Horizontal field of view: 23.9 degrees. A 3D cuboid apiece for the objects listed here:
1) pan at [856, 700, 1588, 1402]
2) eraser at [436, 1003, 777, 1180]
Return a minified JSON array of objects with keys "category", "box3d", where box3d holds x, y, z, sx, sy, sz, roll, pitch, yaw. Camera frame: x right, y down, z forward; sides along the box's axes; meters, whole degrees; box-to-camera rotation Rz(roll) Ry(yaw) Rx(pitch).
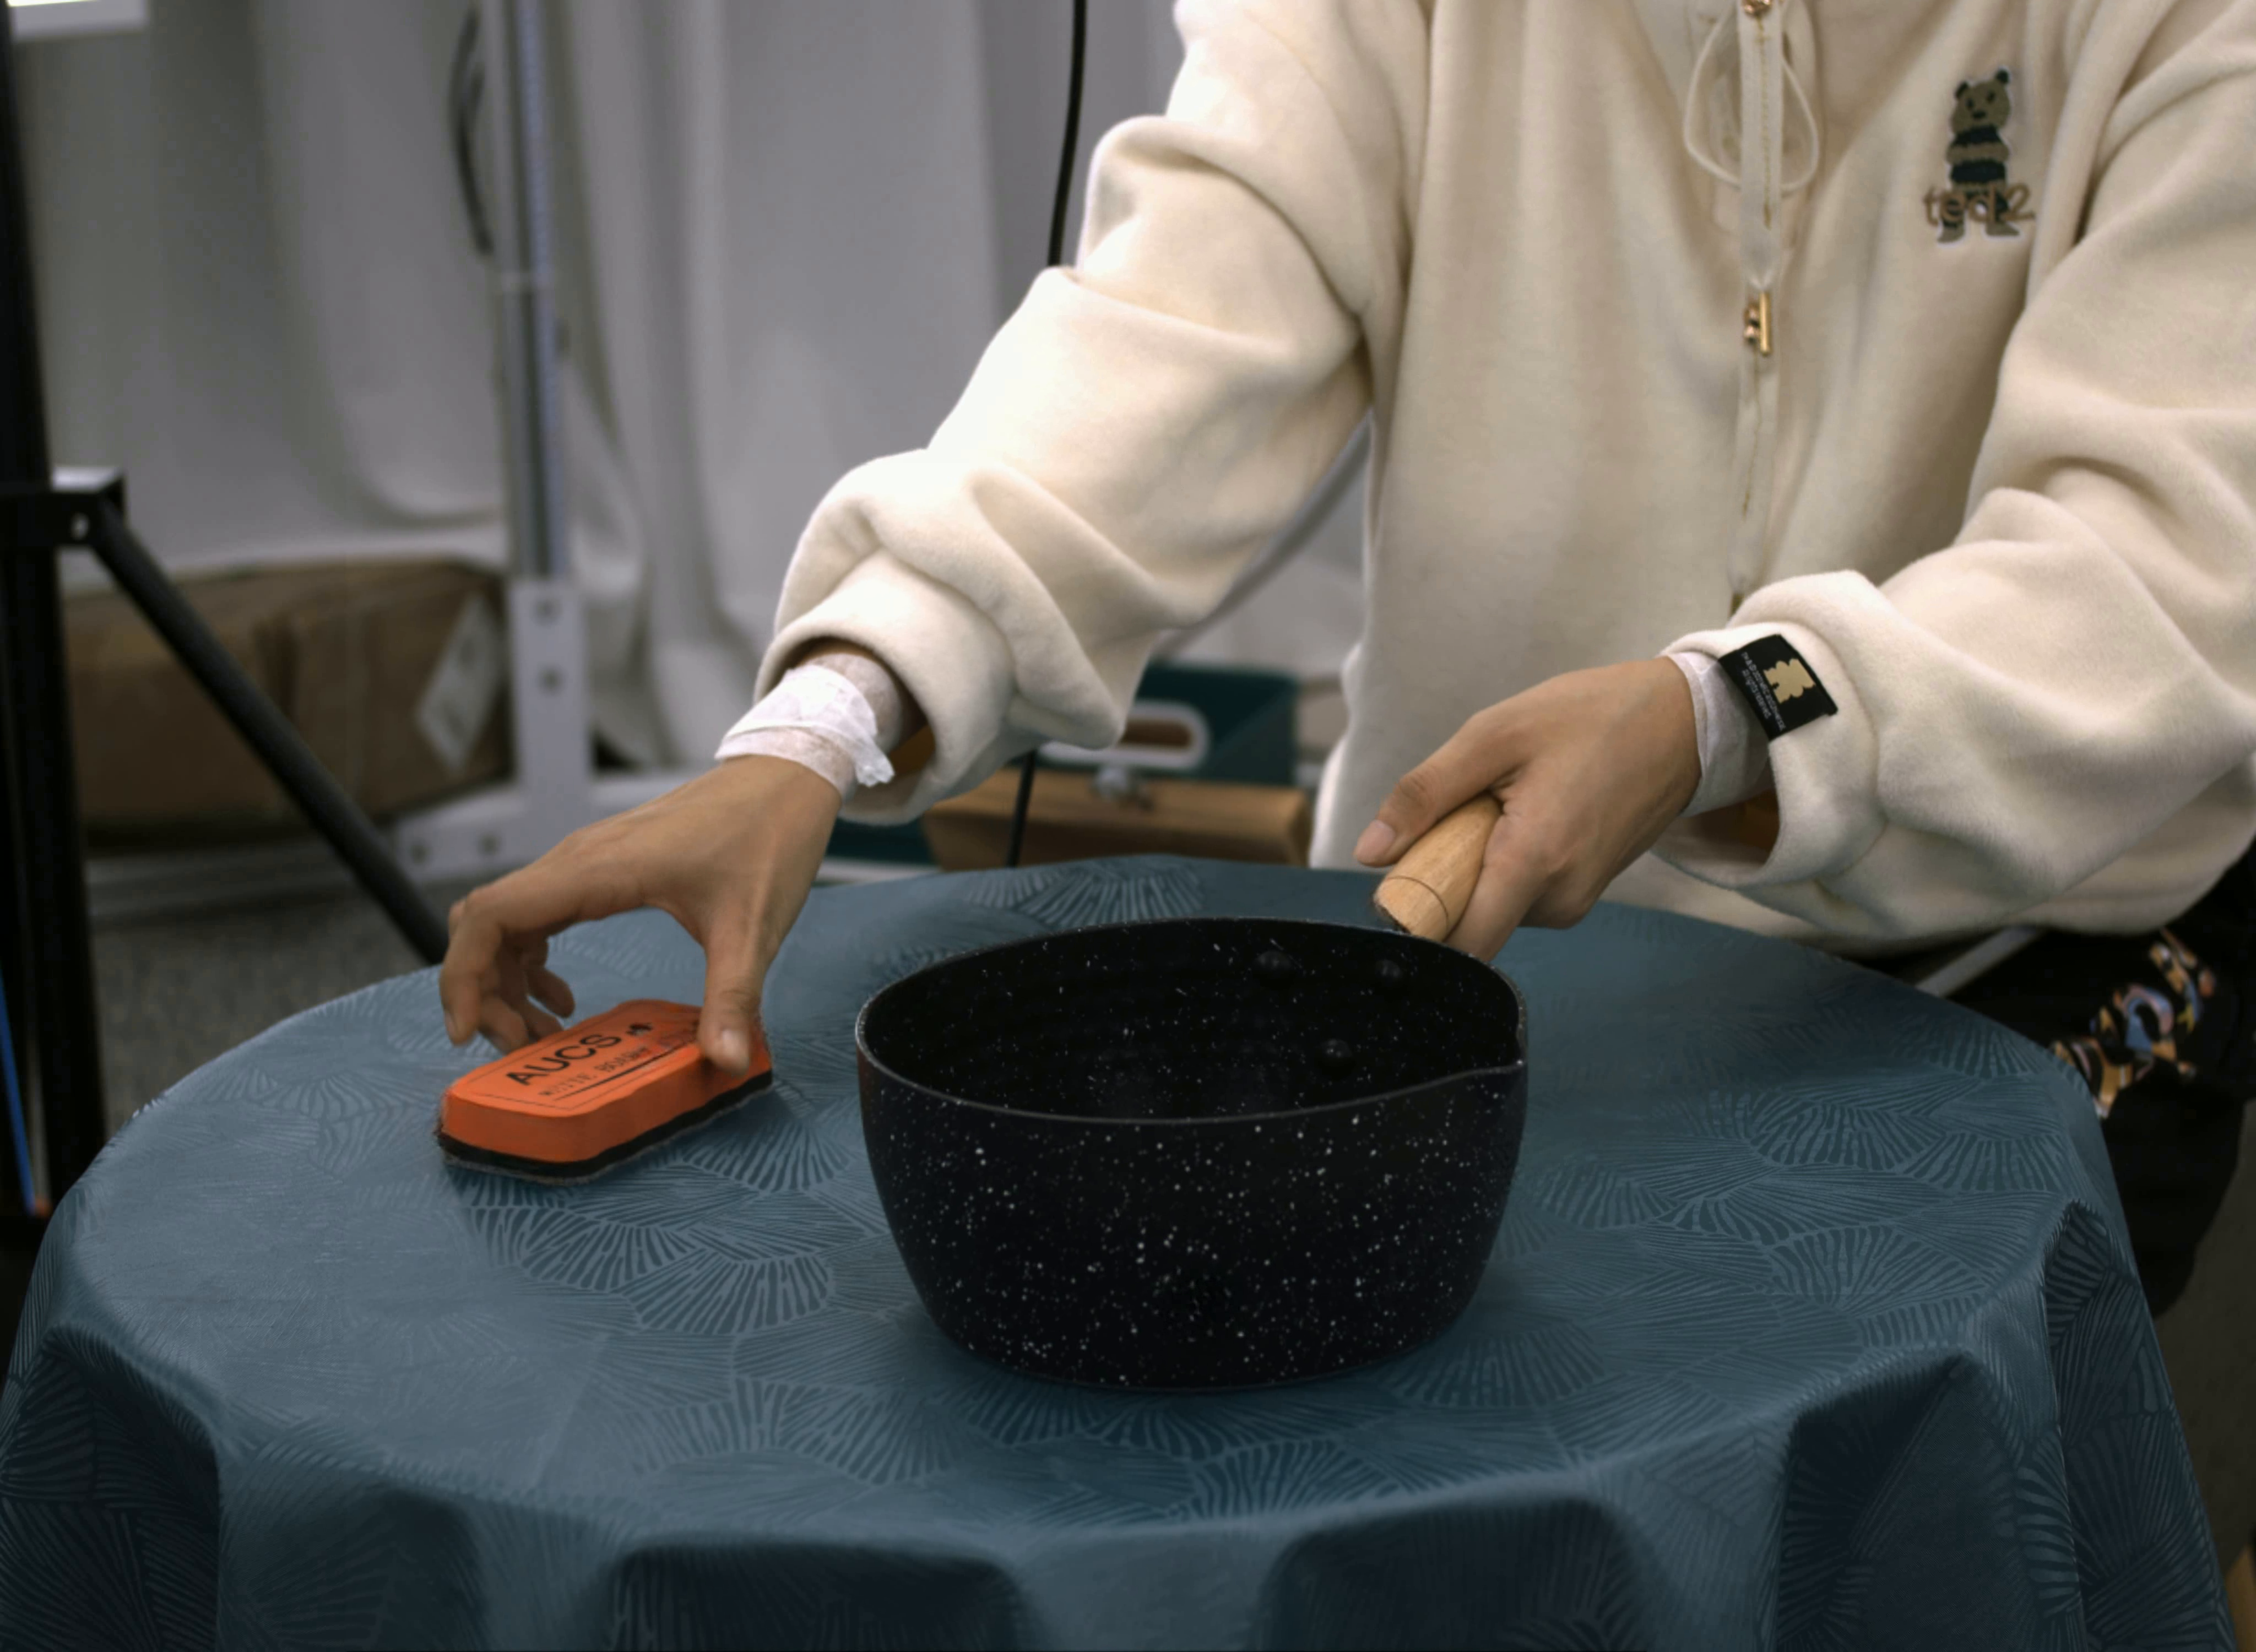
[{"category":"pan","box3d":[0.055,0.059,1.522,0.211,0.108,0.337,4,19,27]},{"category":"eraser","box3d":[-0.159,0.081,1.638,0.060,0.023,0.106,6,18,34]}]
